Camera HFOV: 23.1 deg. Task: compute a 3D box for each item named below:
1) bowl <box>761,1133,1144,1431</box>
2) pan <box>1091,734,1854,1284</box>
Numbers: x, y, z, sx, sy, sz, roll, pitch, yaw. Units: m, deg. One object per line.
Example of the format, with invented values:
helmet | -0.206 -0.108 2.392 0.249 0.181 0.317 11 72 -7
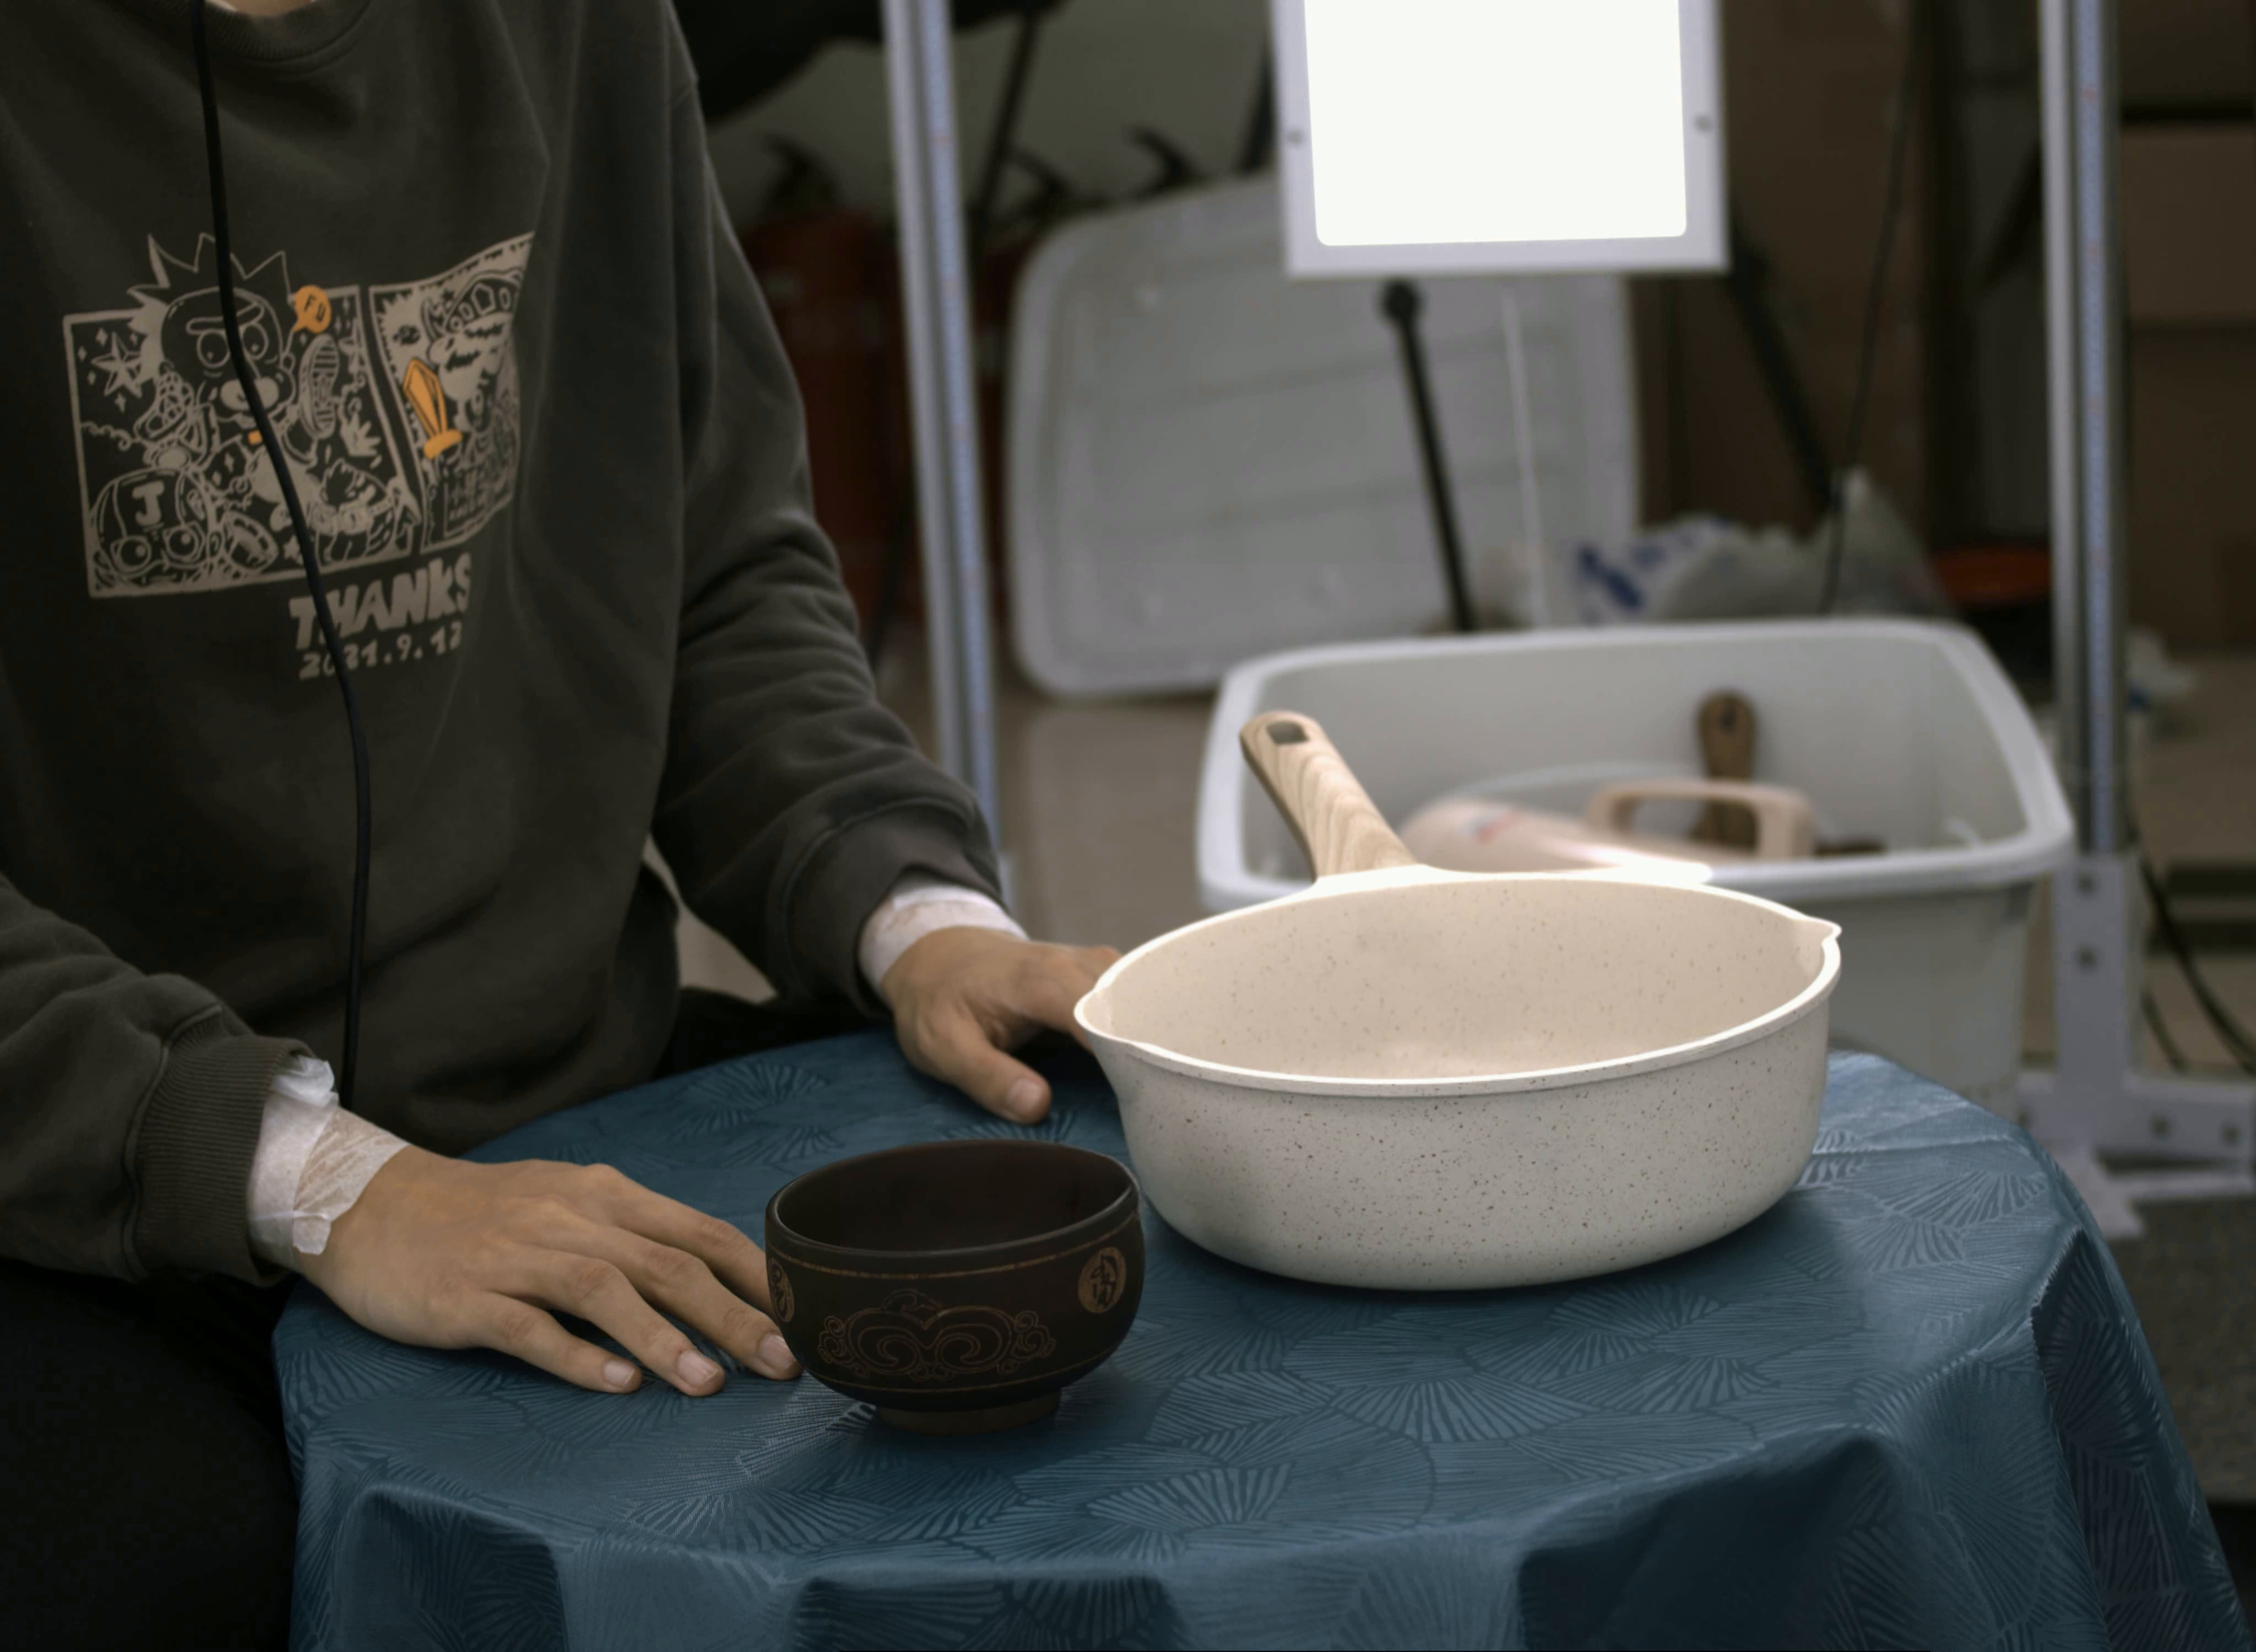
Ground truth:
bowl | -0.052 0.144 1.695 0.118 0.070 0.118 -7 13 0
pan | 0.103 0.059 1.930 0.261 0.102 0.437 -9 14 -8
